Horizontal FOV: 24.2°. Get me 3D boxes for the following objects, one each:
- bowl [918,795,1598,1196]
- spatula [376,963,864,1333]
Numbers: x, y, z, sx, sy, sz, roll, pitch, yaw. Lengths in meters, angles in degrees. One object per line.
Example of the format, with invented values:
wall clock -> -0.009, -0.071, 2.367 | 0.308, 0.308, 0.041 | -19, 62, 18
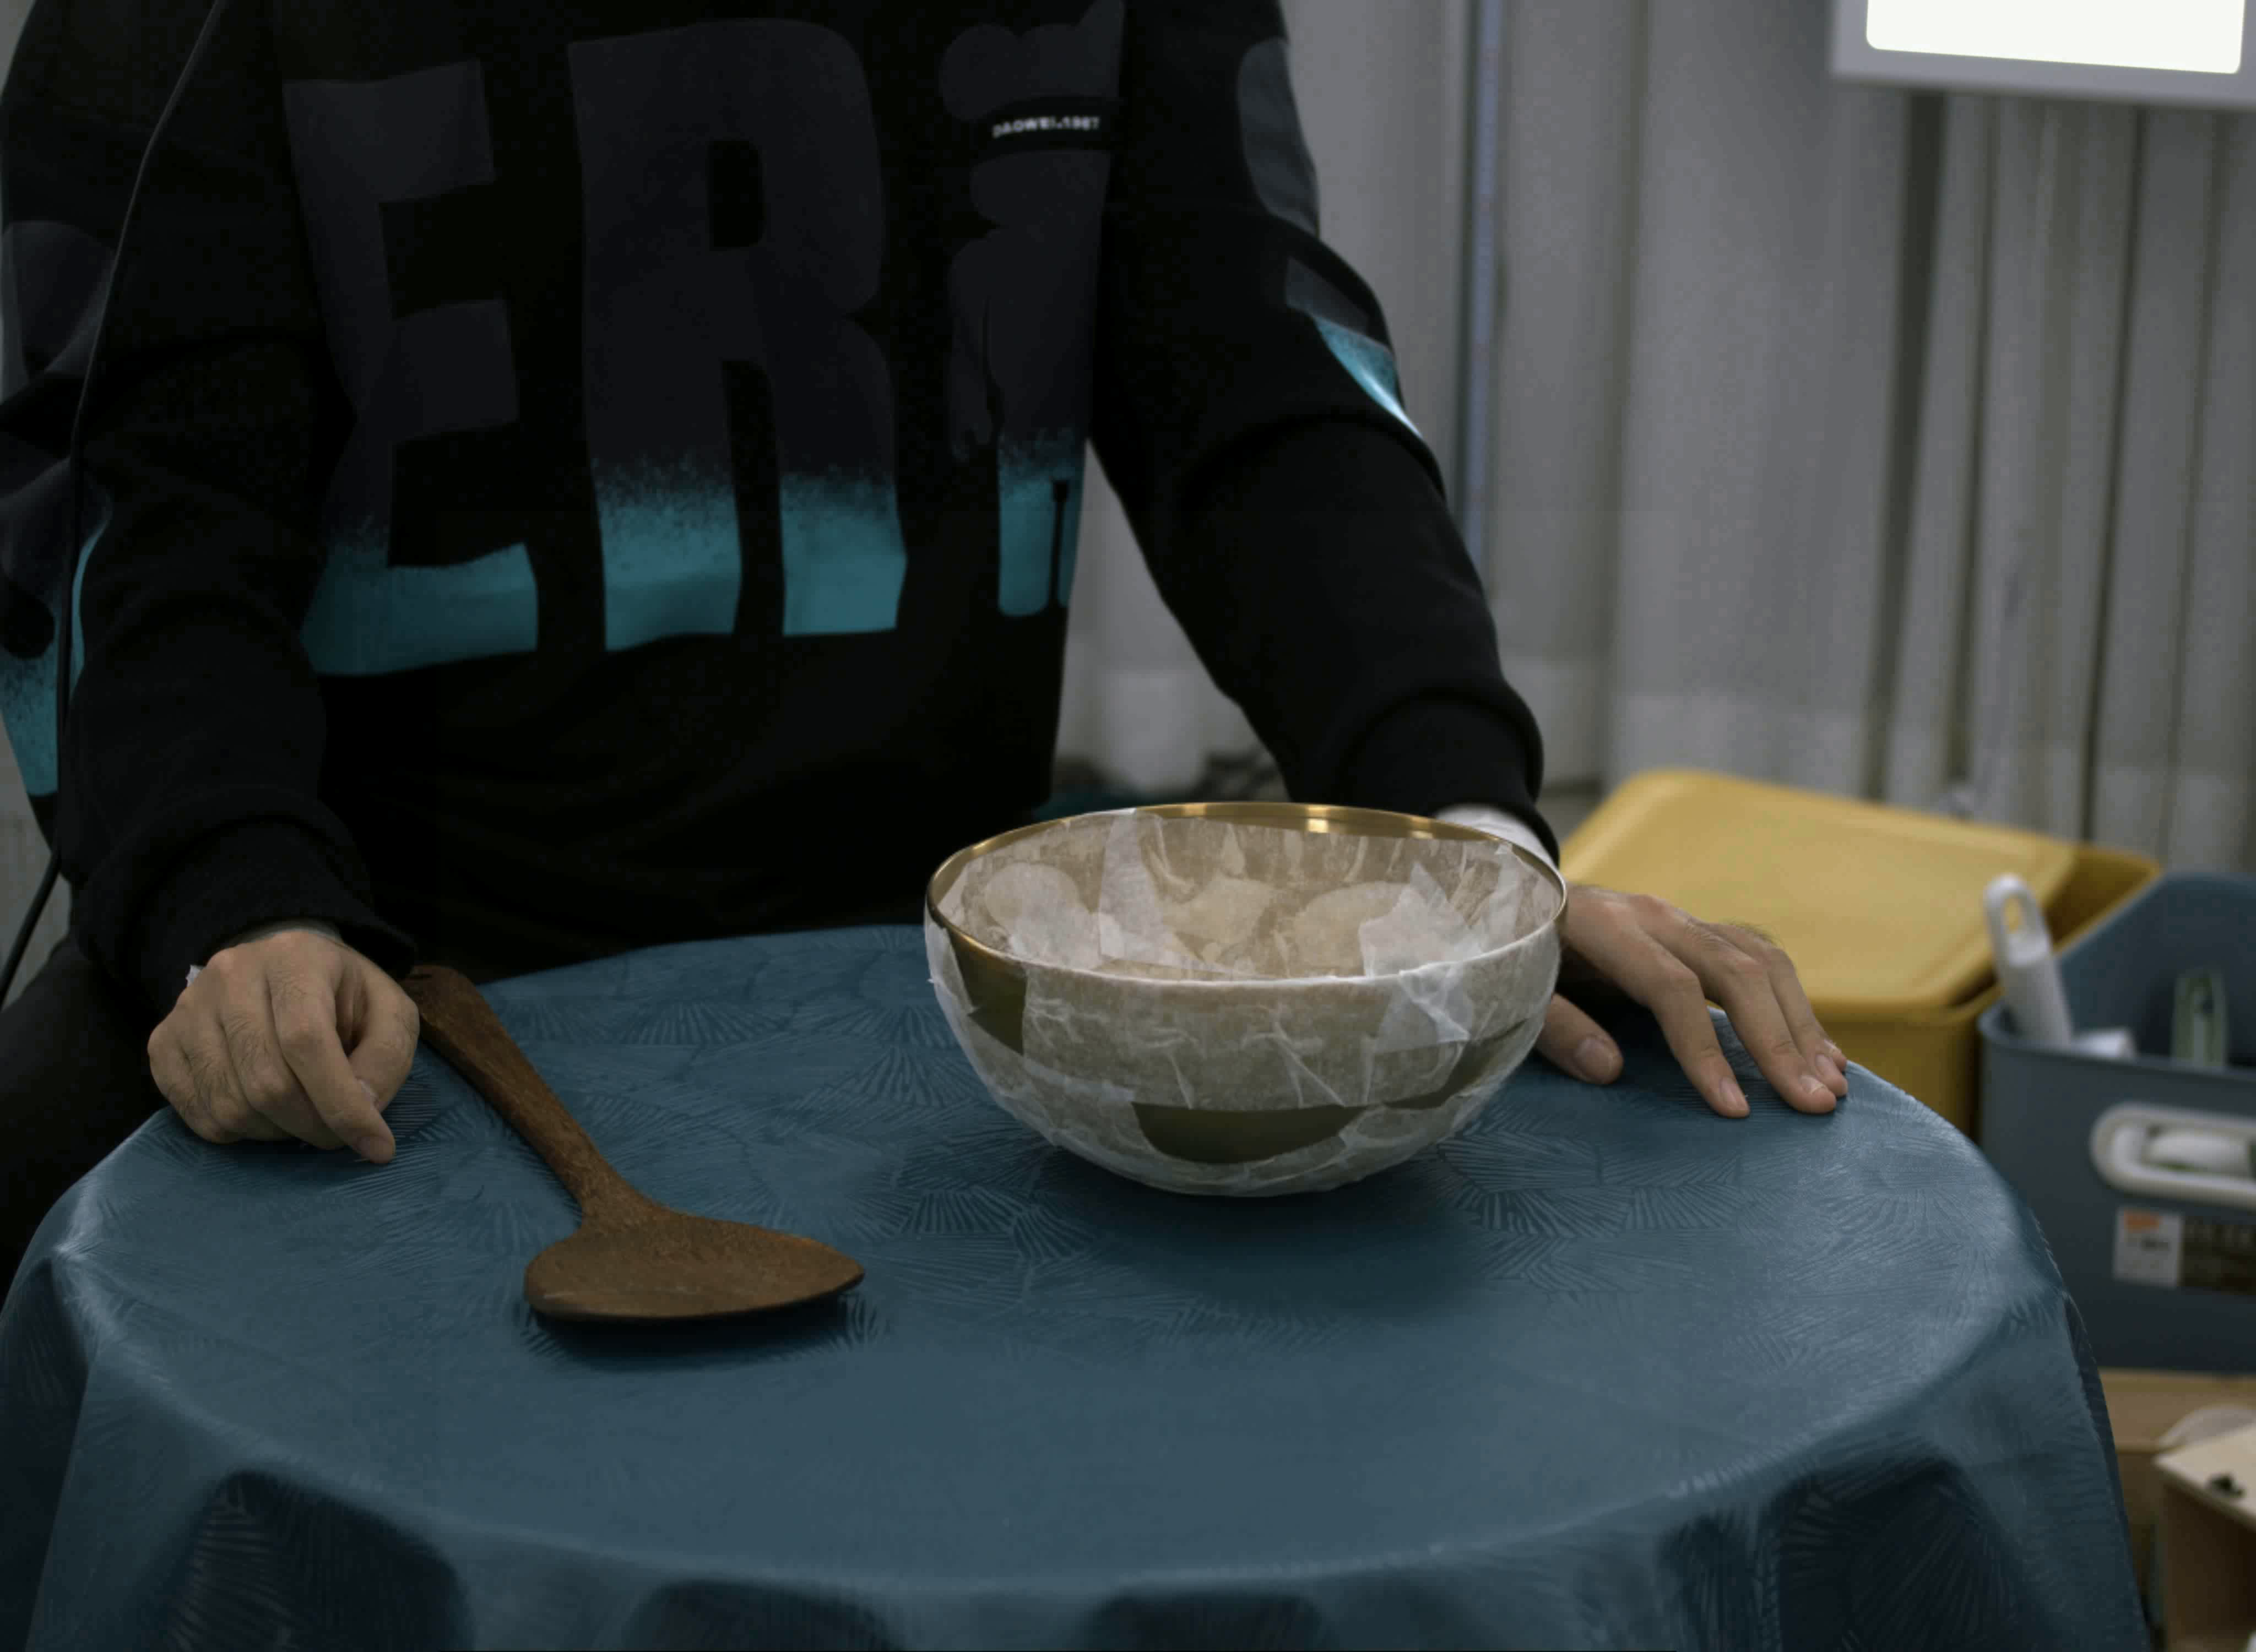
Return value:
bowl -> 0.039, 0.060, 1.641 | 0.214, 0.095, 0.213 | -1, 15, 1
spatula -> -0.182, 0.095, 1.657 | 0.096, 0.016, 0.381 | -5, 16, -21
